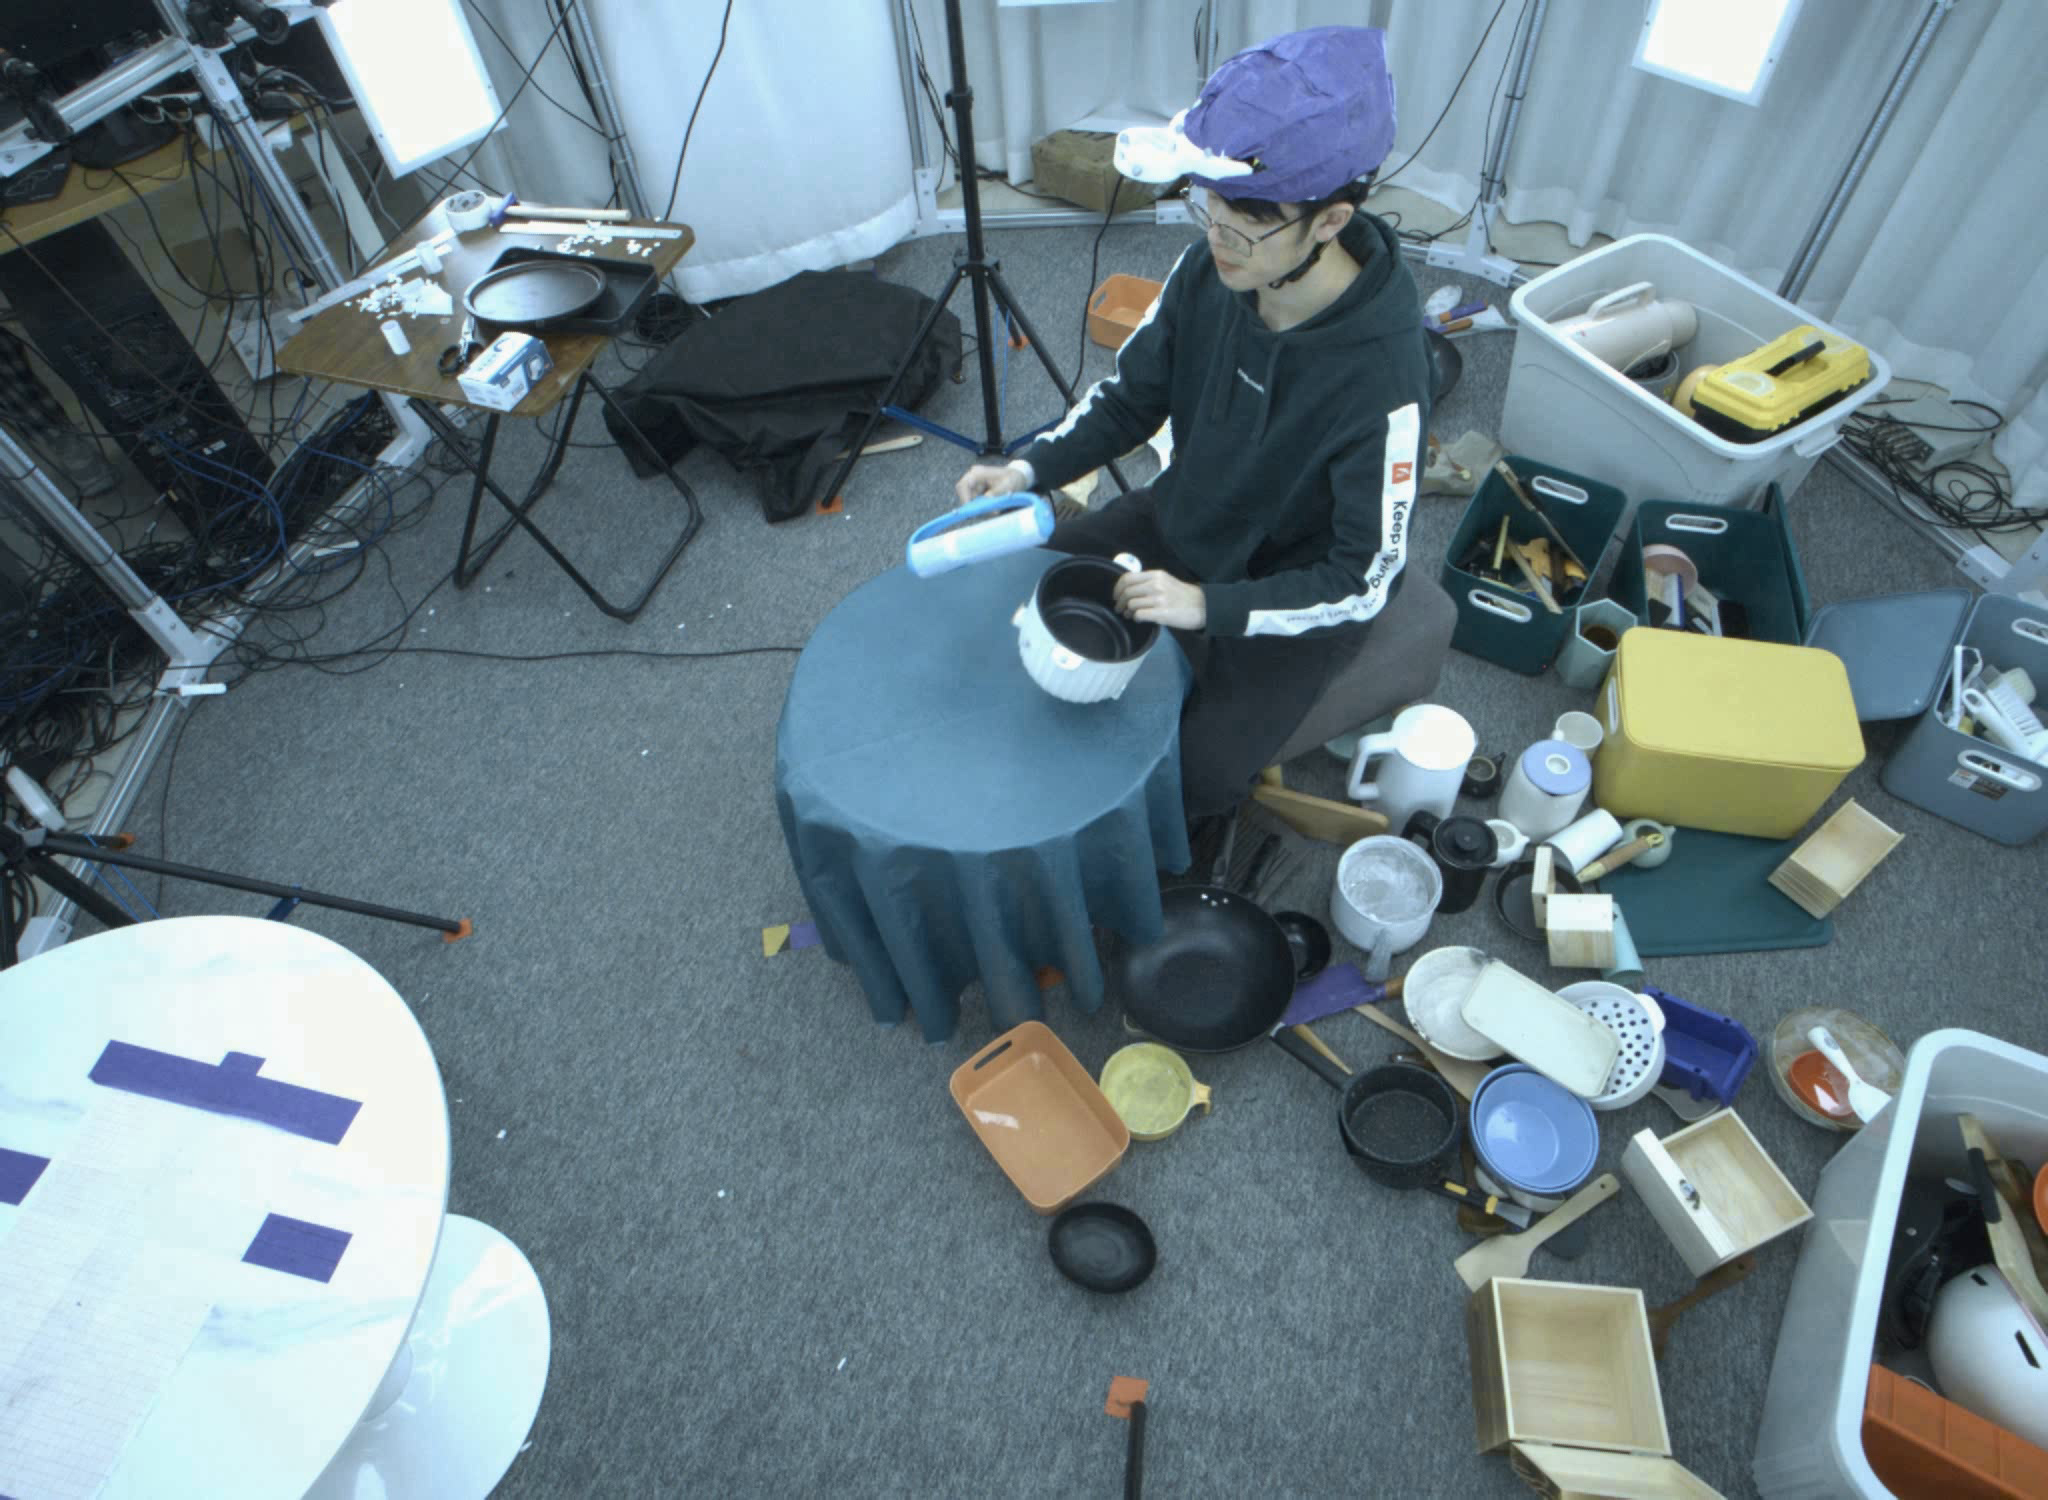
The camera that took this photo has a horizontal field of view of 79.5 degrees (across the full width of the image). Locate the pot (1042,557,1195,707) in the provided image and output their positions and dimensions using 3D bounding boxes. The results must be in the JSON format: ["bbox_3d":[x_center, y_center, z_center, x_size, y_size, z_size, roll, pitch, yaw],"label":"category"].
[{"bbox_3d":[0.124,-0.159,1.722,0.191,0.142,0.241,35,55,-3],"label":"pot"}]

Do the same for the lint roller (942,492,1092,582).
[{"bbox_3d":[-0.009,-0.330,1.762,0.227,0.069,0.178,-18,38,18],"label":"lint roller"}]
